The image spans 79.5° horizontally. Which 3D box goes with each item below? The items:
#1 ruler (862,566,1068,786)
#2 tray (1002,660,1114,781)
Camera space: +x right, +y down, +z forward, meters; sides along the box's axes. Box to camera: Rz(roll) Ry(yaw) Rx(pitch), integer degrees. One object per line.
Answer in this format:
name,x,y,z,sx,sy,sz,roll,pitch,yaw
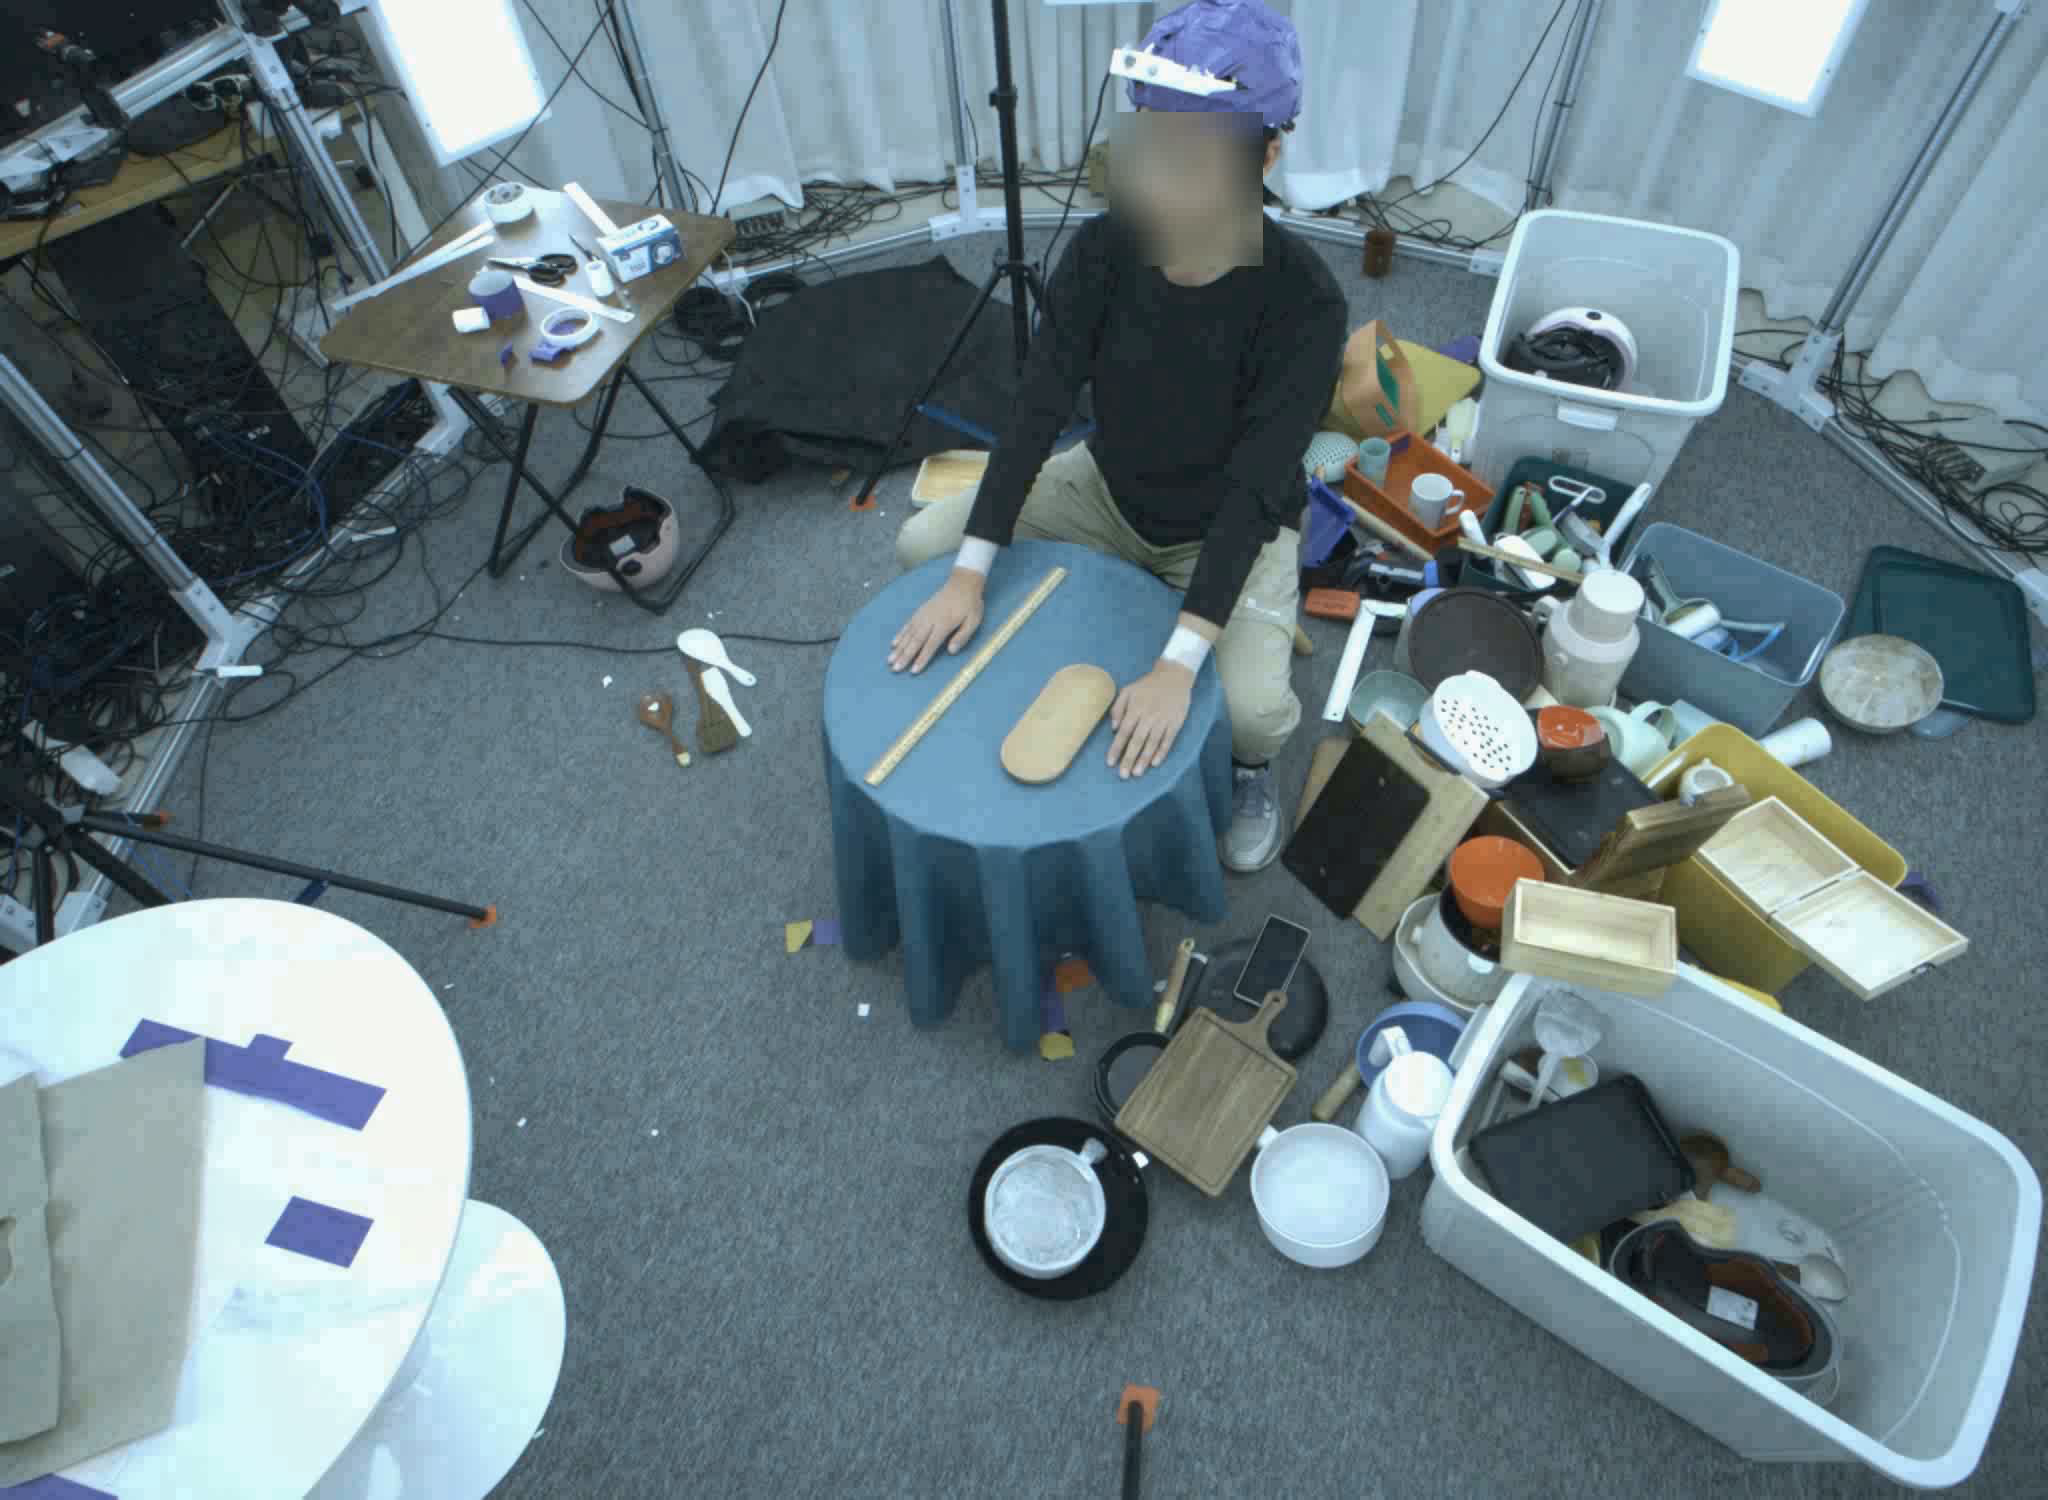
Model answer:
ruler,-0.080,-0.123,1.874,0.026,0.006,0.502,30,61,19
tray,0.051,-0.044,1.807,0.100,0.020,0.232,25,58,16
